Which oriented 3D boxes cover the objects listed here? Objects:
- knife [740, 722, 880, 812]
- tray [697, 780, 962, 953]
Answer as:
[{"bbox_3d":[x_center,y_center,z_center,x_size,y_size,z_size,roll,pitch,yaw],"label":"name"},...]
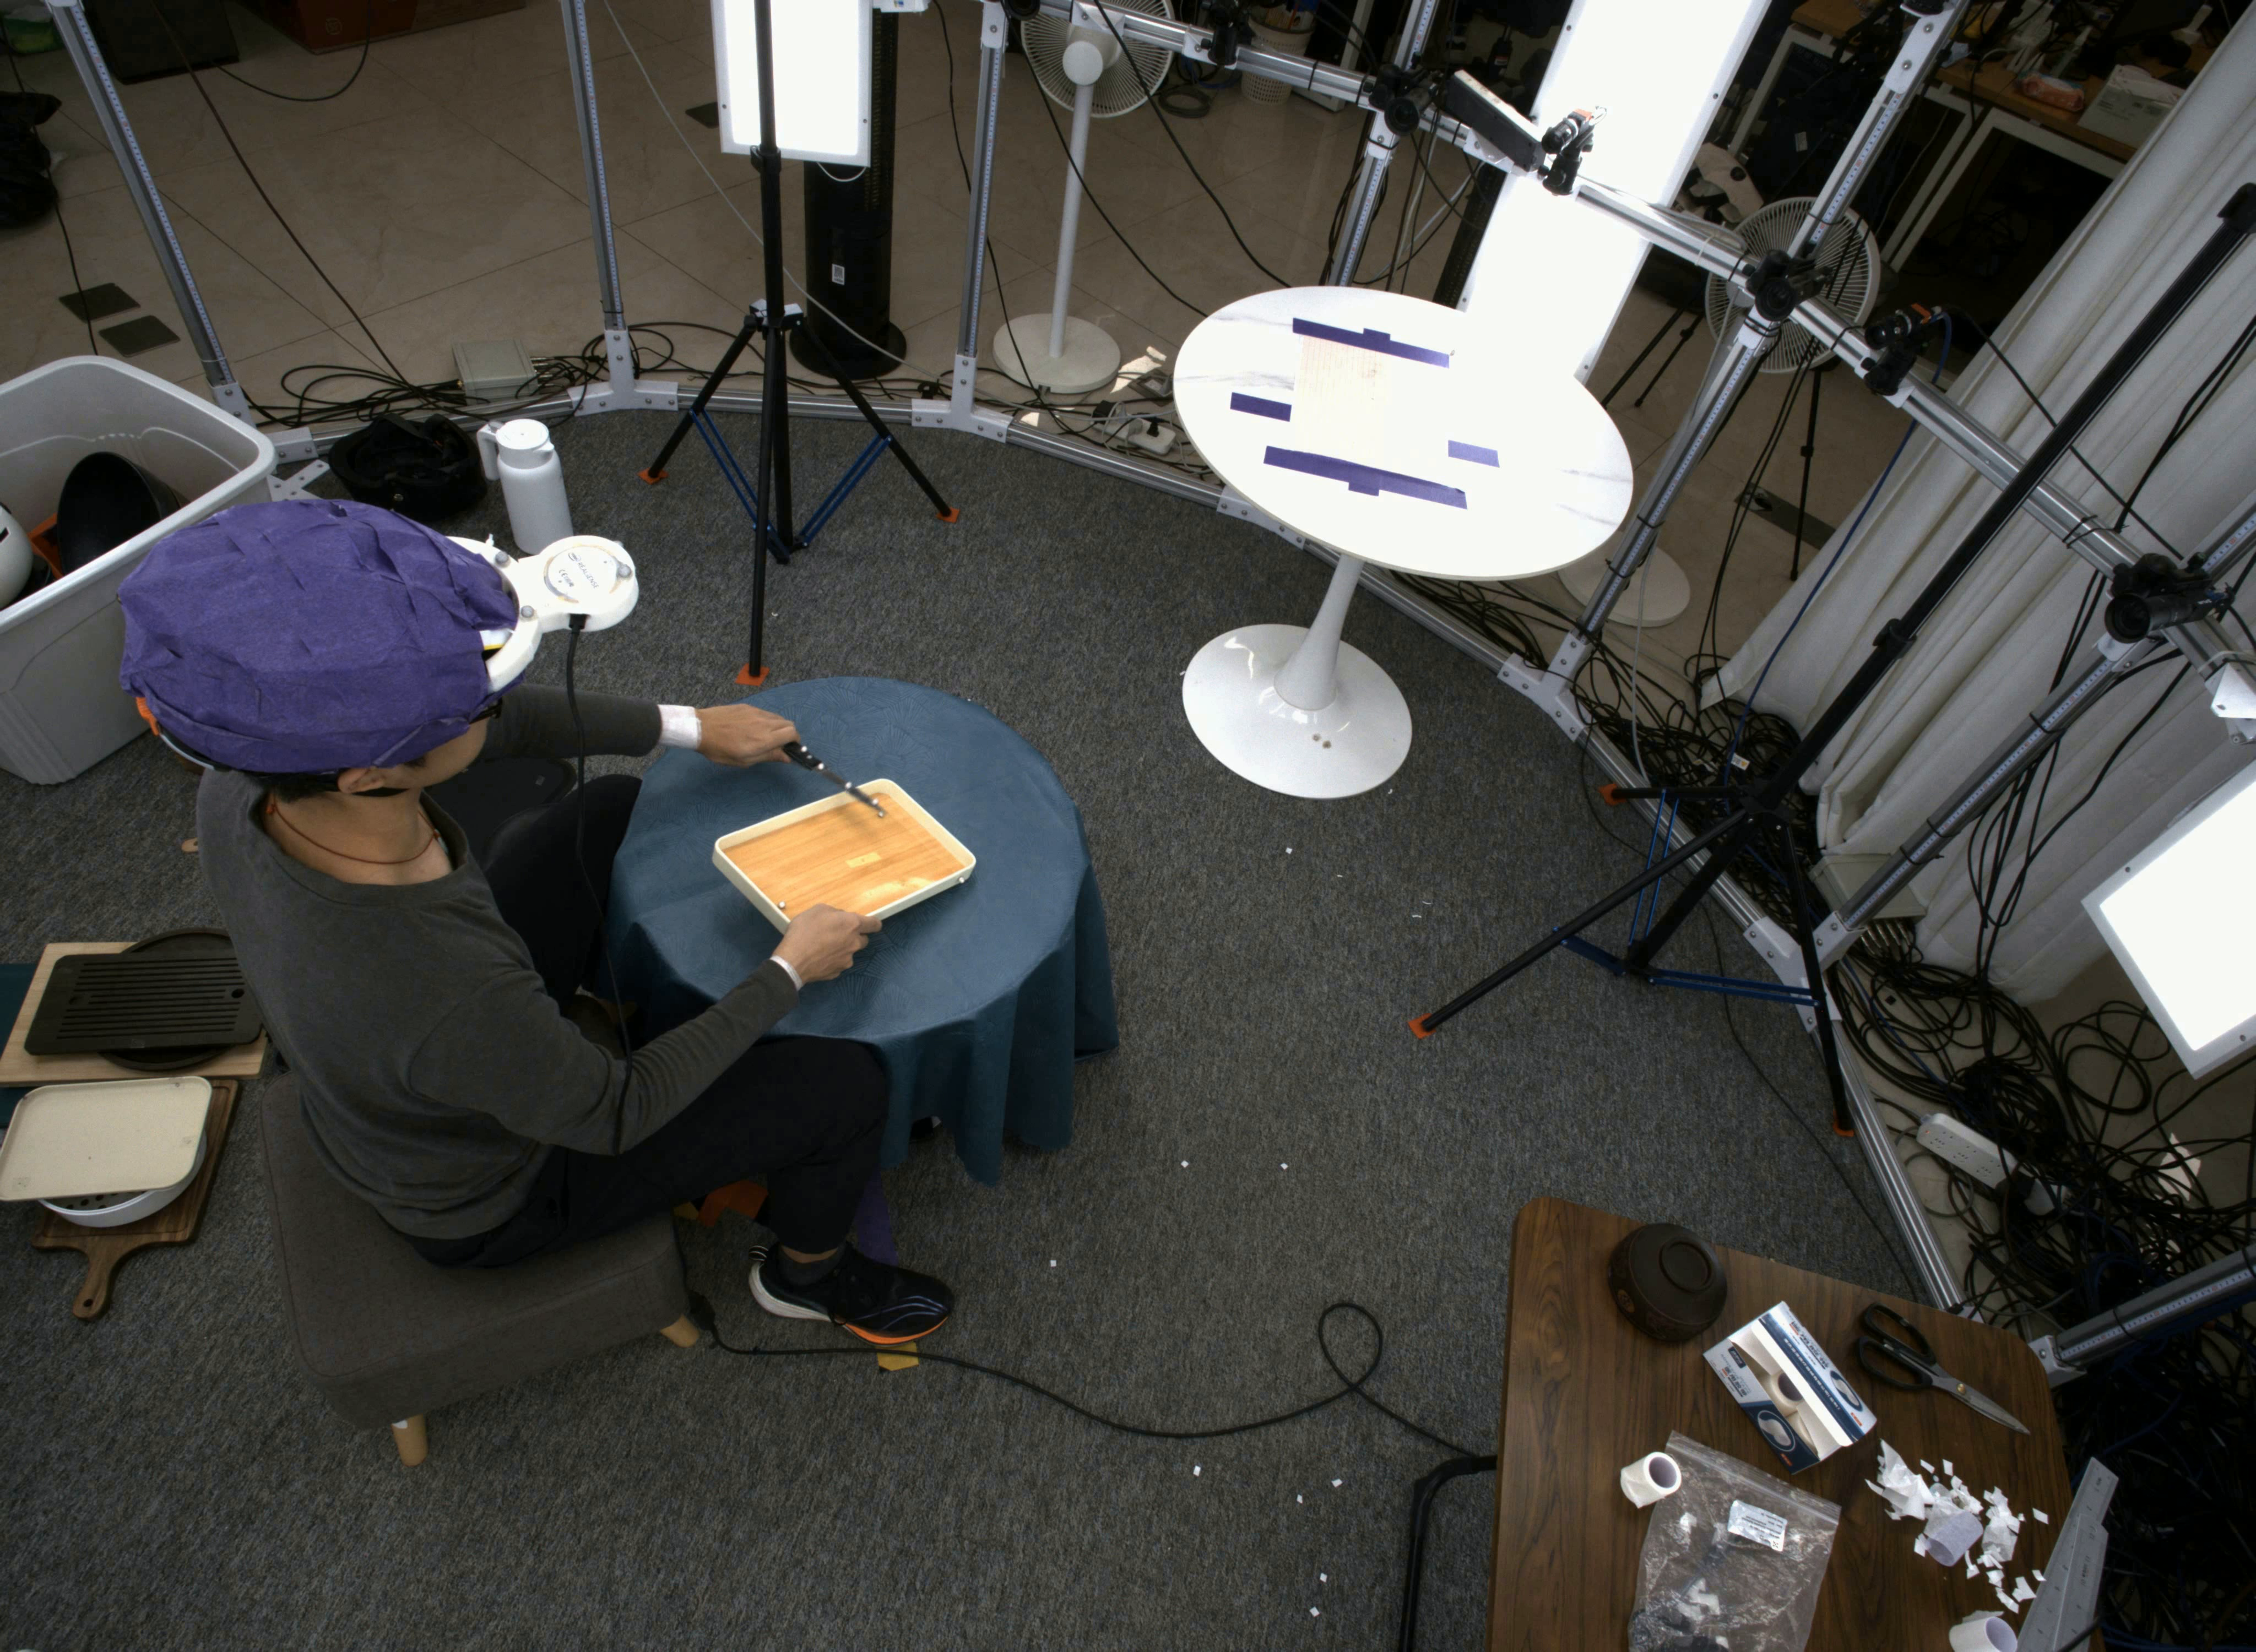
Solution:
[{"bbox_3d":[-0.422,-0.076,1.706,0.233,0.016,0.024,30,32,12],"label":"knife"},{"bbox_3d":[-0.371,0.043,1.642,0.187,0.028,0.302,40,36,17],"label":"tray"}]
